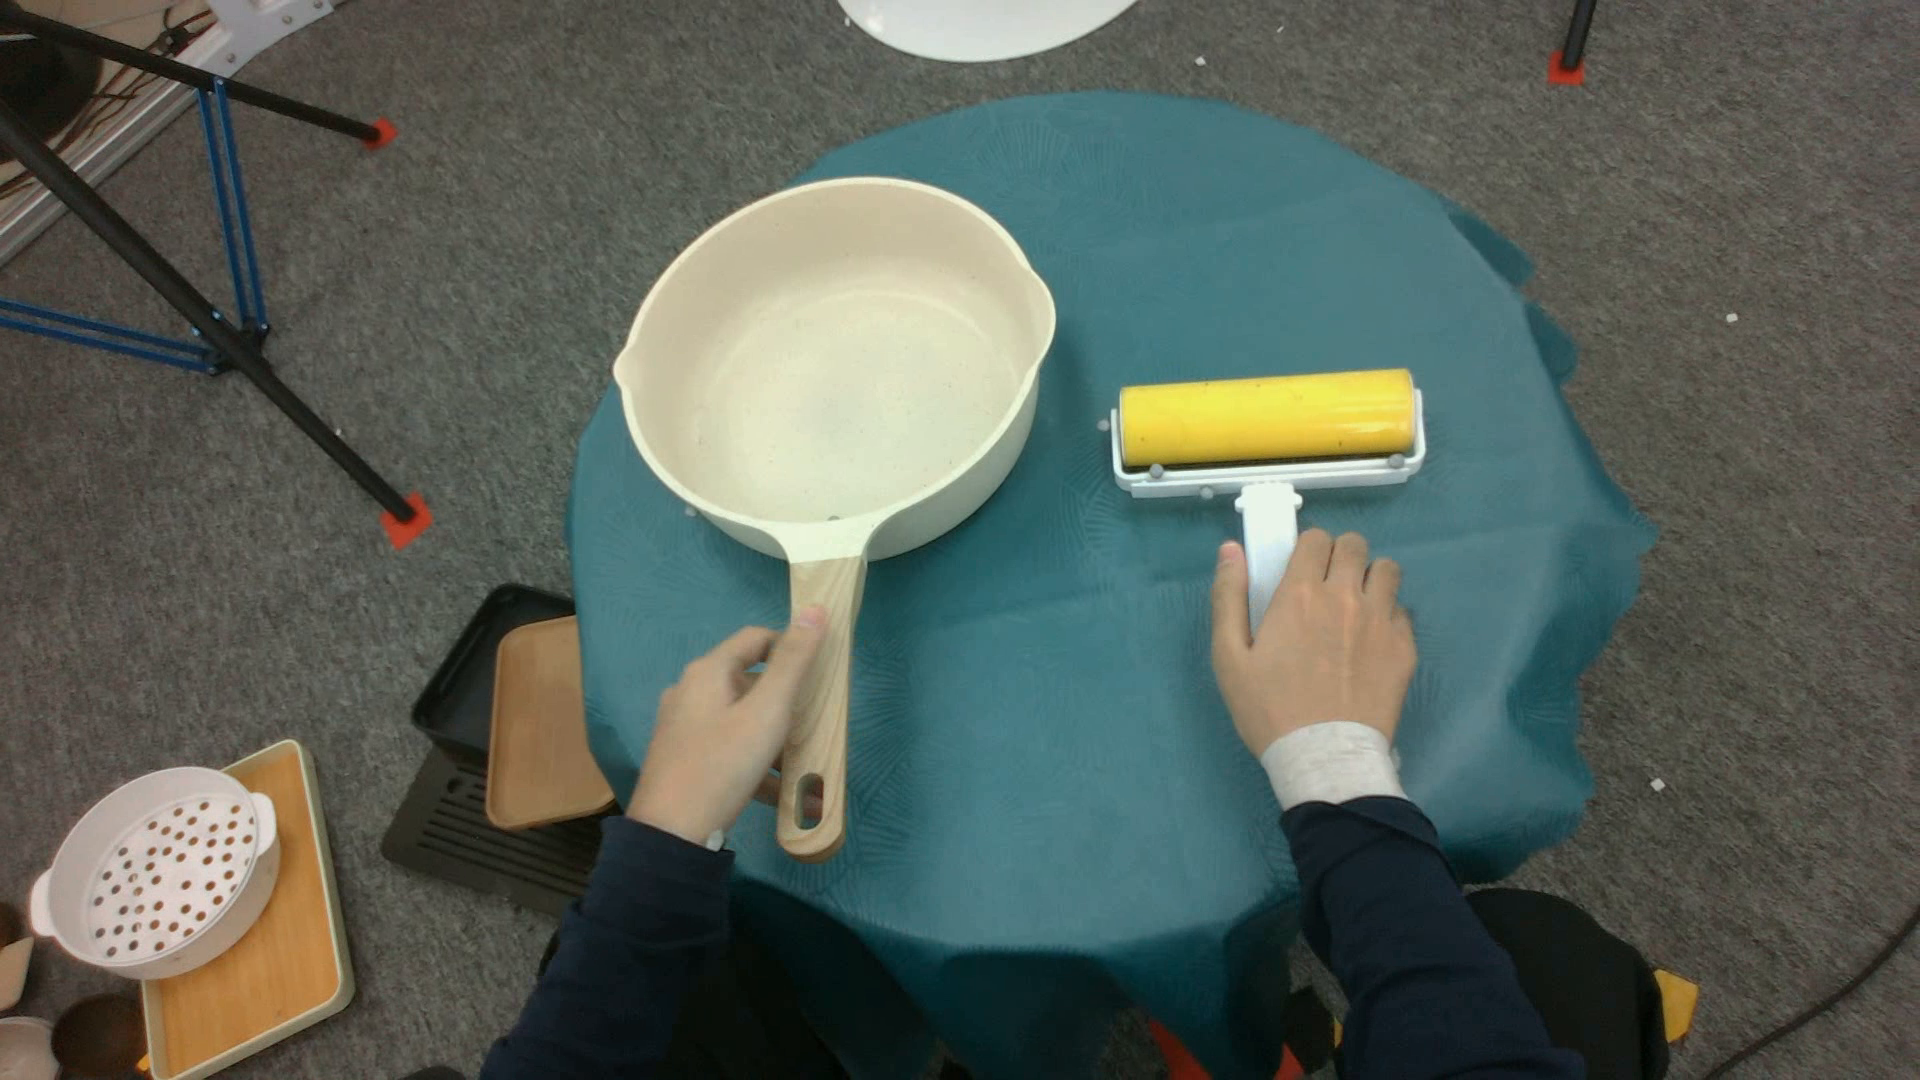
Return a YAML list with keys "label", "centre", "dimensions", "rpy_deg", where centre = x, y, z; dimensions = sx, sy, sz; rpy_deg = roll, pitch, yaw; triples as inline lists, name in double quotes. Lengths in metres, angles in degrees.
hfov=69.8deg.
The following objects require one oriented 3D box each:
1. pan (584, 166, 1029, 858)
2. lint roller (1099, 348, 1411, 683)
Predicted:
- label: "pan"
  centre: [-0.081, -0.025, 0.782]
  dimensions: [0.263, 0.101, 0.436]
  rpy_deg: [-6, 61, 4]
- label: "lint roller"
  centre: [0.167, -0.018, 0.758]
  dimensions: [0.174, 0.051, 0.193]
  rpy_deg: [-4, 57, 8]
